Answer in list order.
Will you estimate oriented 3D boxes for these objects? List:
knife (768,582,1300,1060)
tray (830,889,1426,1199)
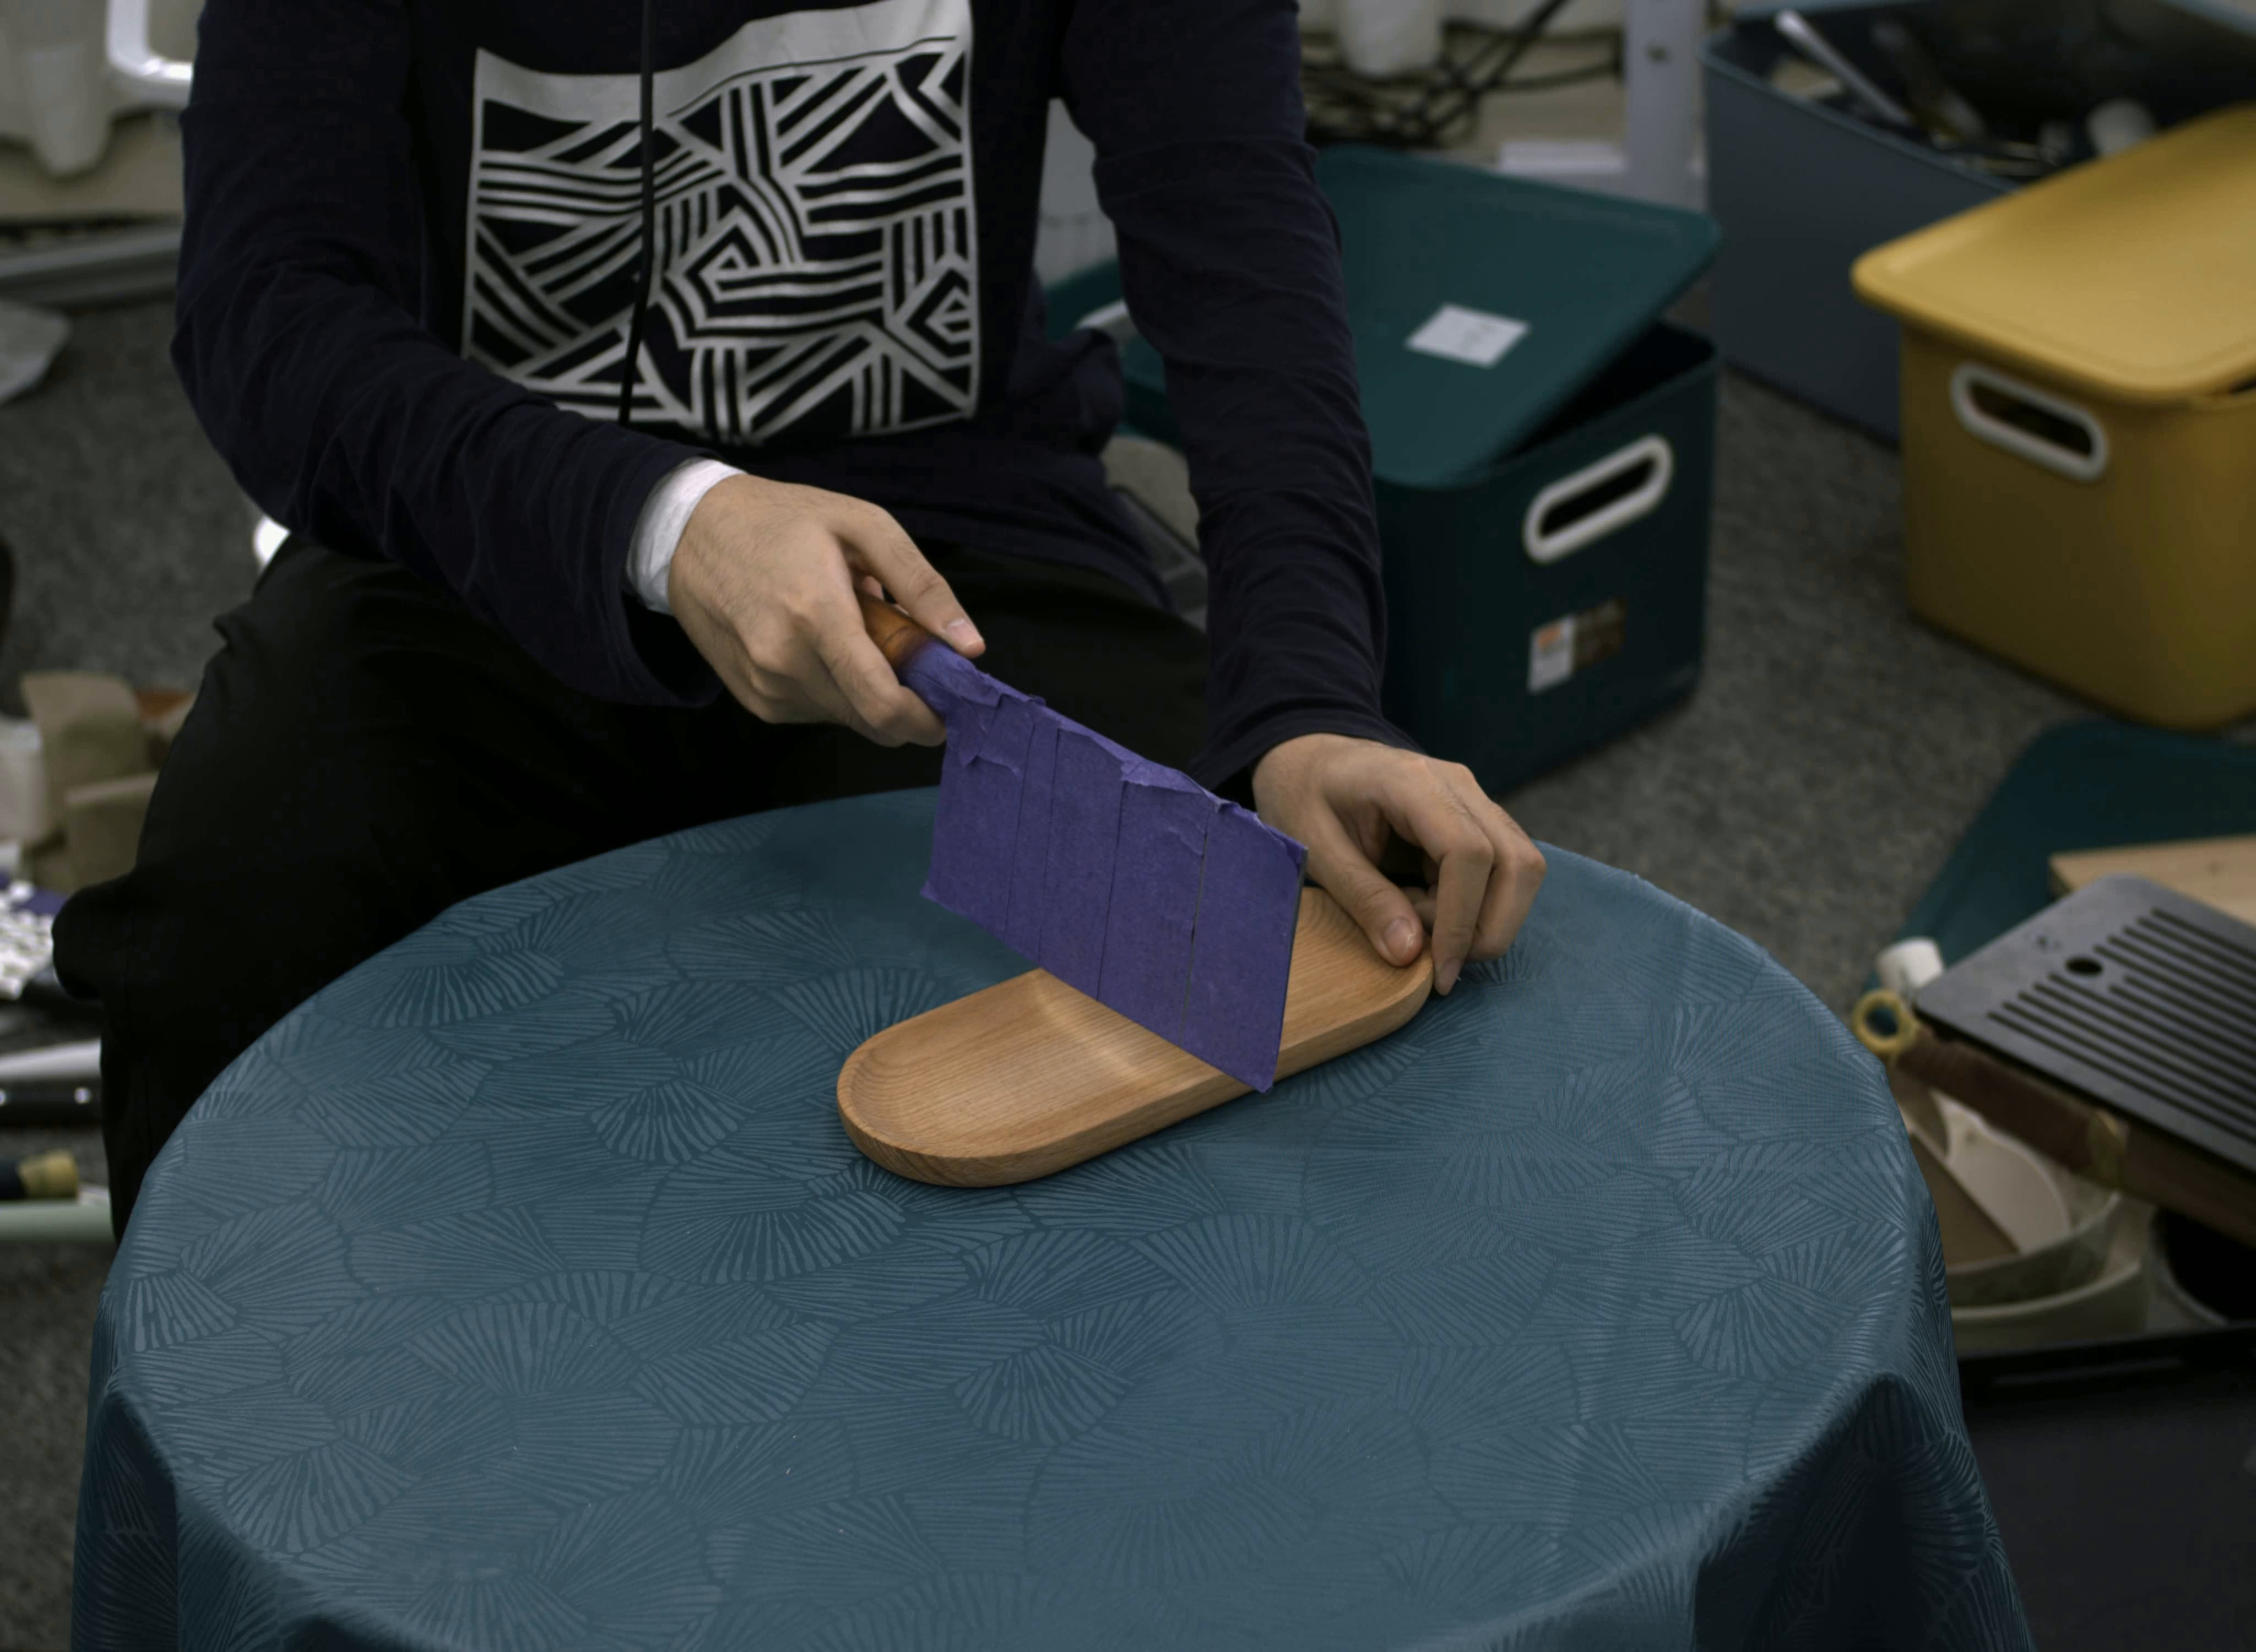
[{"bbox_3d":[-0.040,-0.002,1.960,0.032,0.103,0.315,-1,18,-34],"label":"knife"},{"bbox_3d":[0.002,0.074,1.936,0.233,0.020,0.102,-23,33,-31],"label":"tray"}]
